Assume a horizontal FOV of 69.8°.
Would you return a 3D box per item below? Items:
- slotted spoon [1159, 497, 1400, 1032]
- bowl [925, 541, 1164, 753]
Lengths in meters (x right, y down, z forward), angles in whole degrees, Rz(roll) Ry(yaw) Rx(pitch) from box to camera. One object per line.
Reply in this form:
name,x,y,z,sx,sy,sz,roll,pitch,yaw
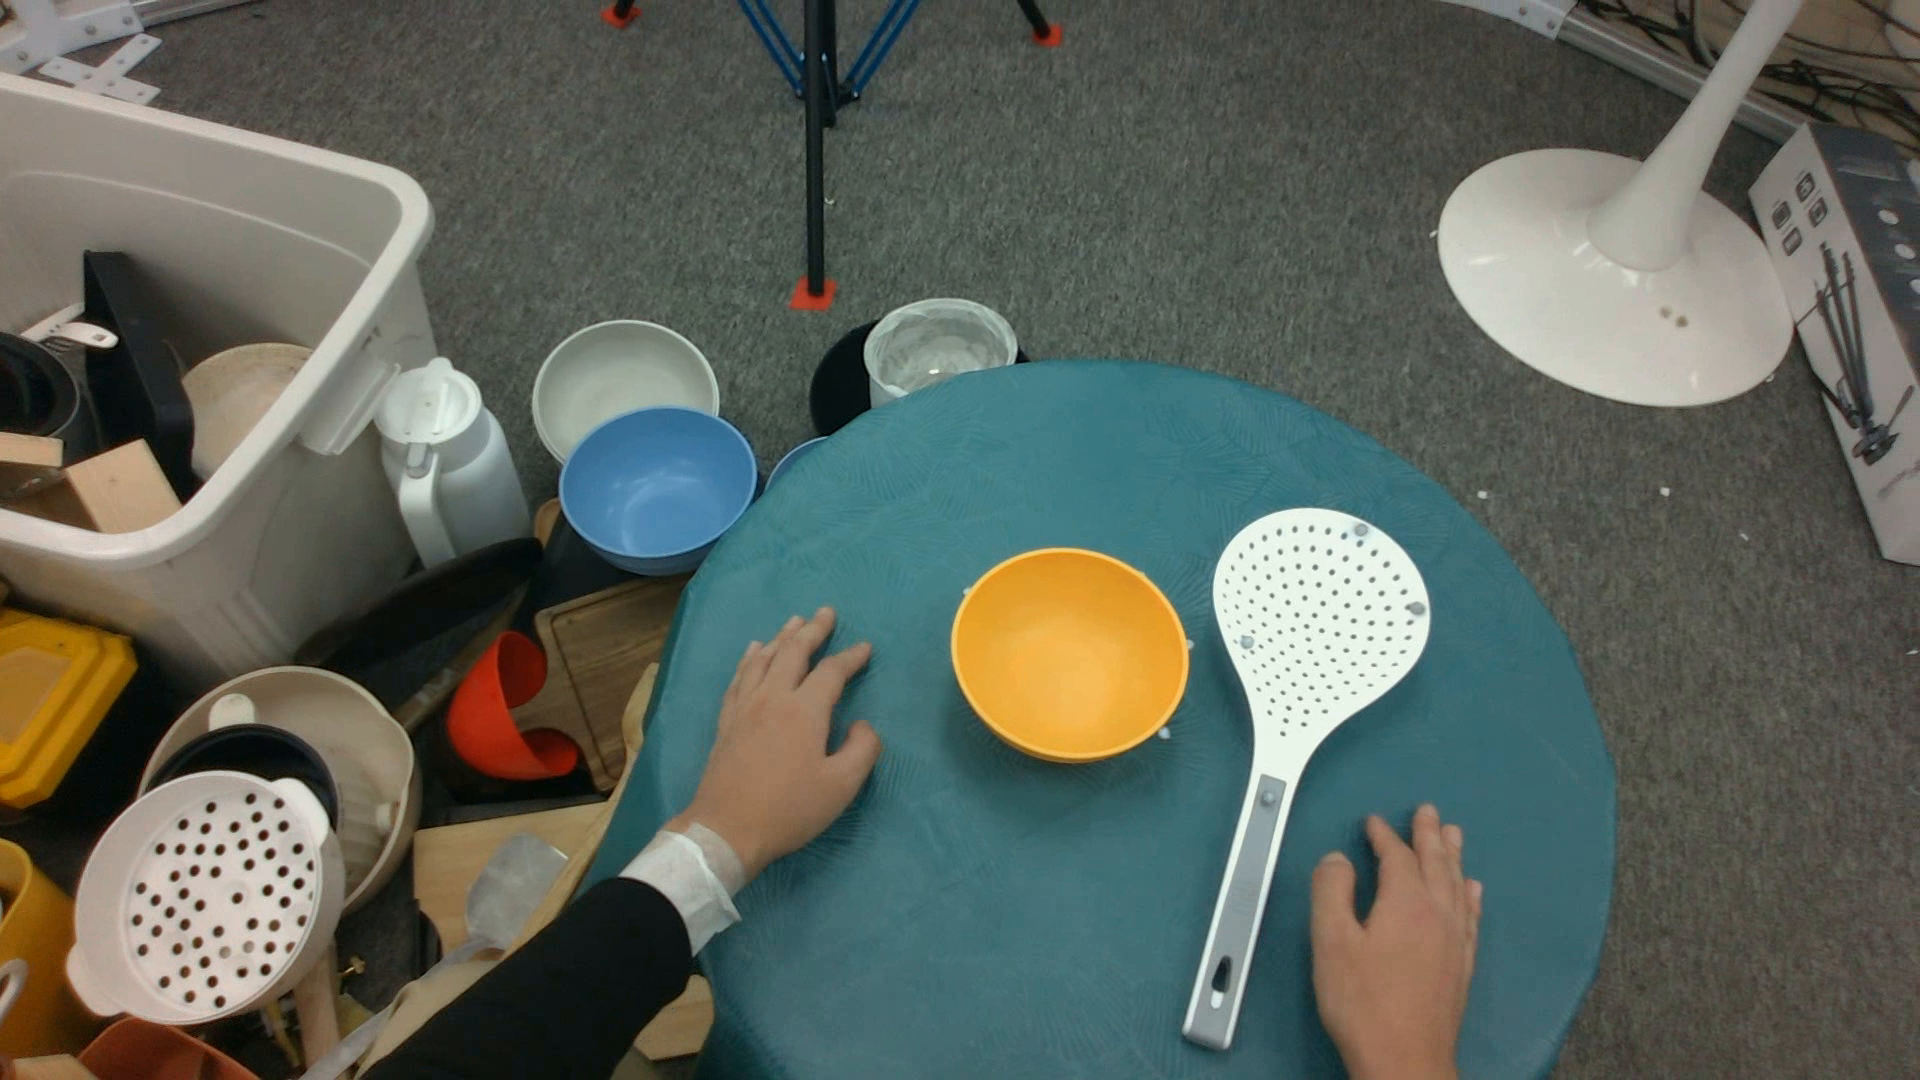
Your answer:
slotted spoon,0.179,0.123,0.837,0.136,0.045,0.351,18,57,7
bowl,0.050,0.075,0.850,0.145,0.060,0.146,2,55,-3
